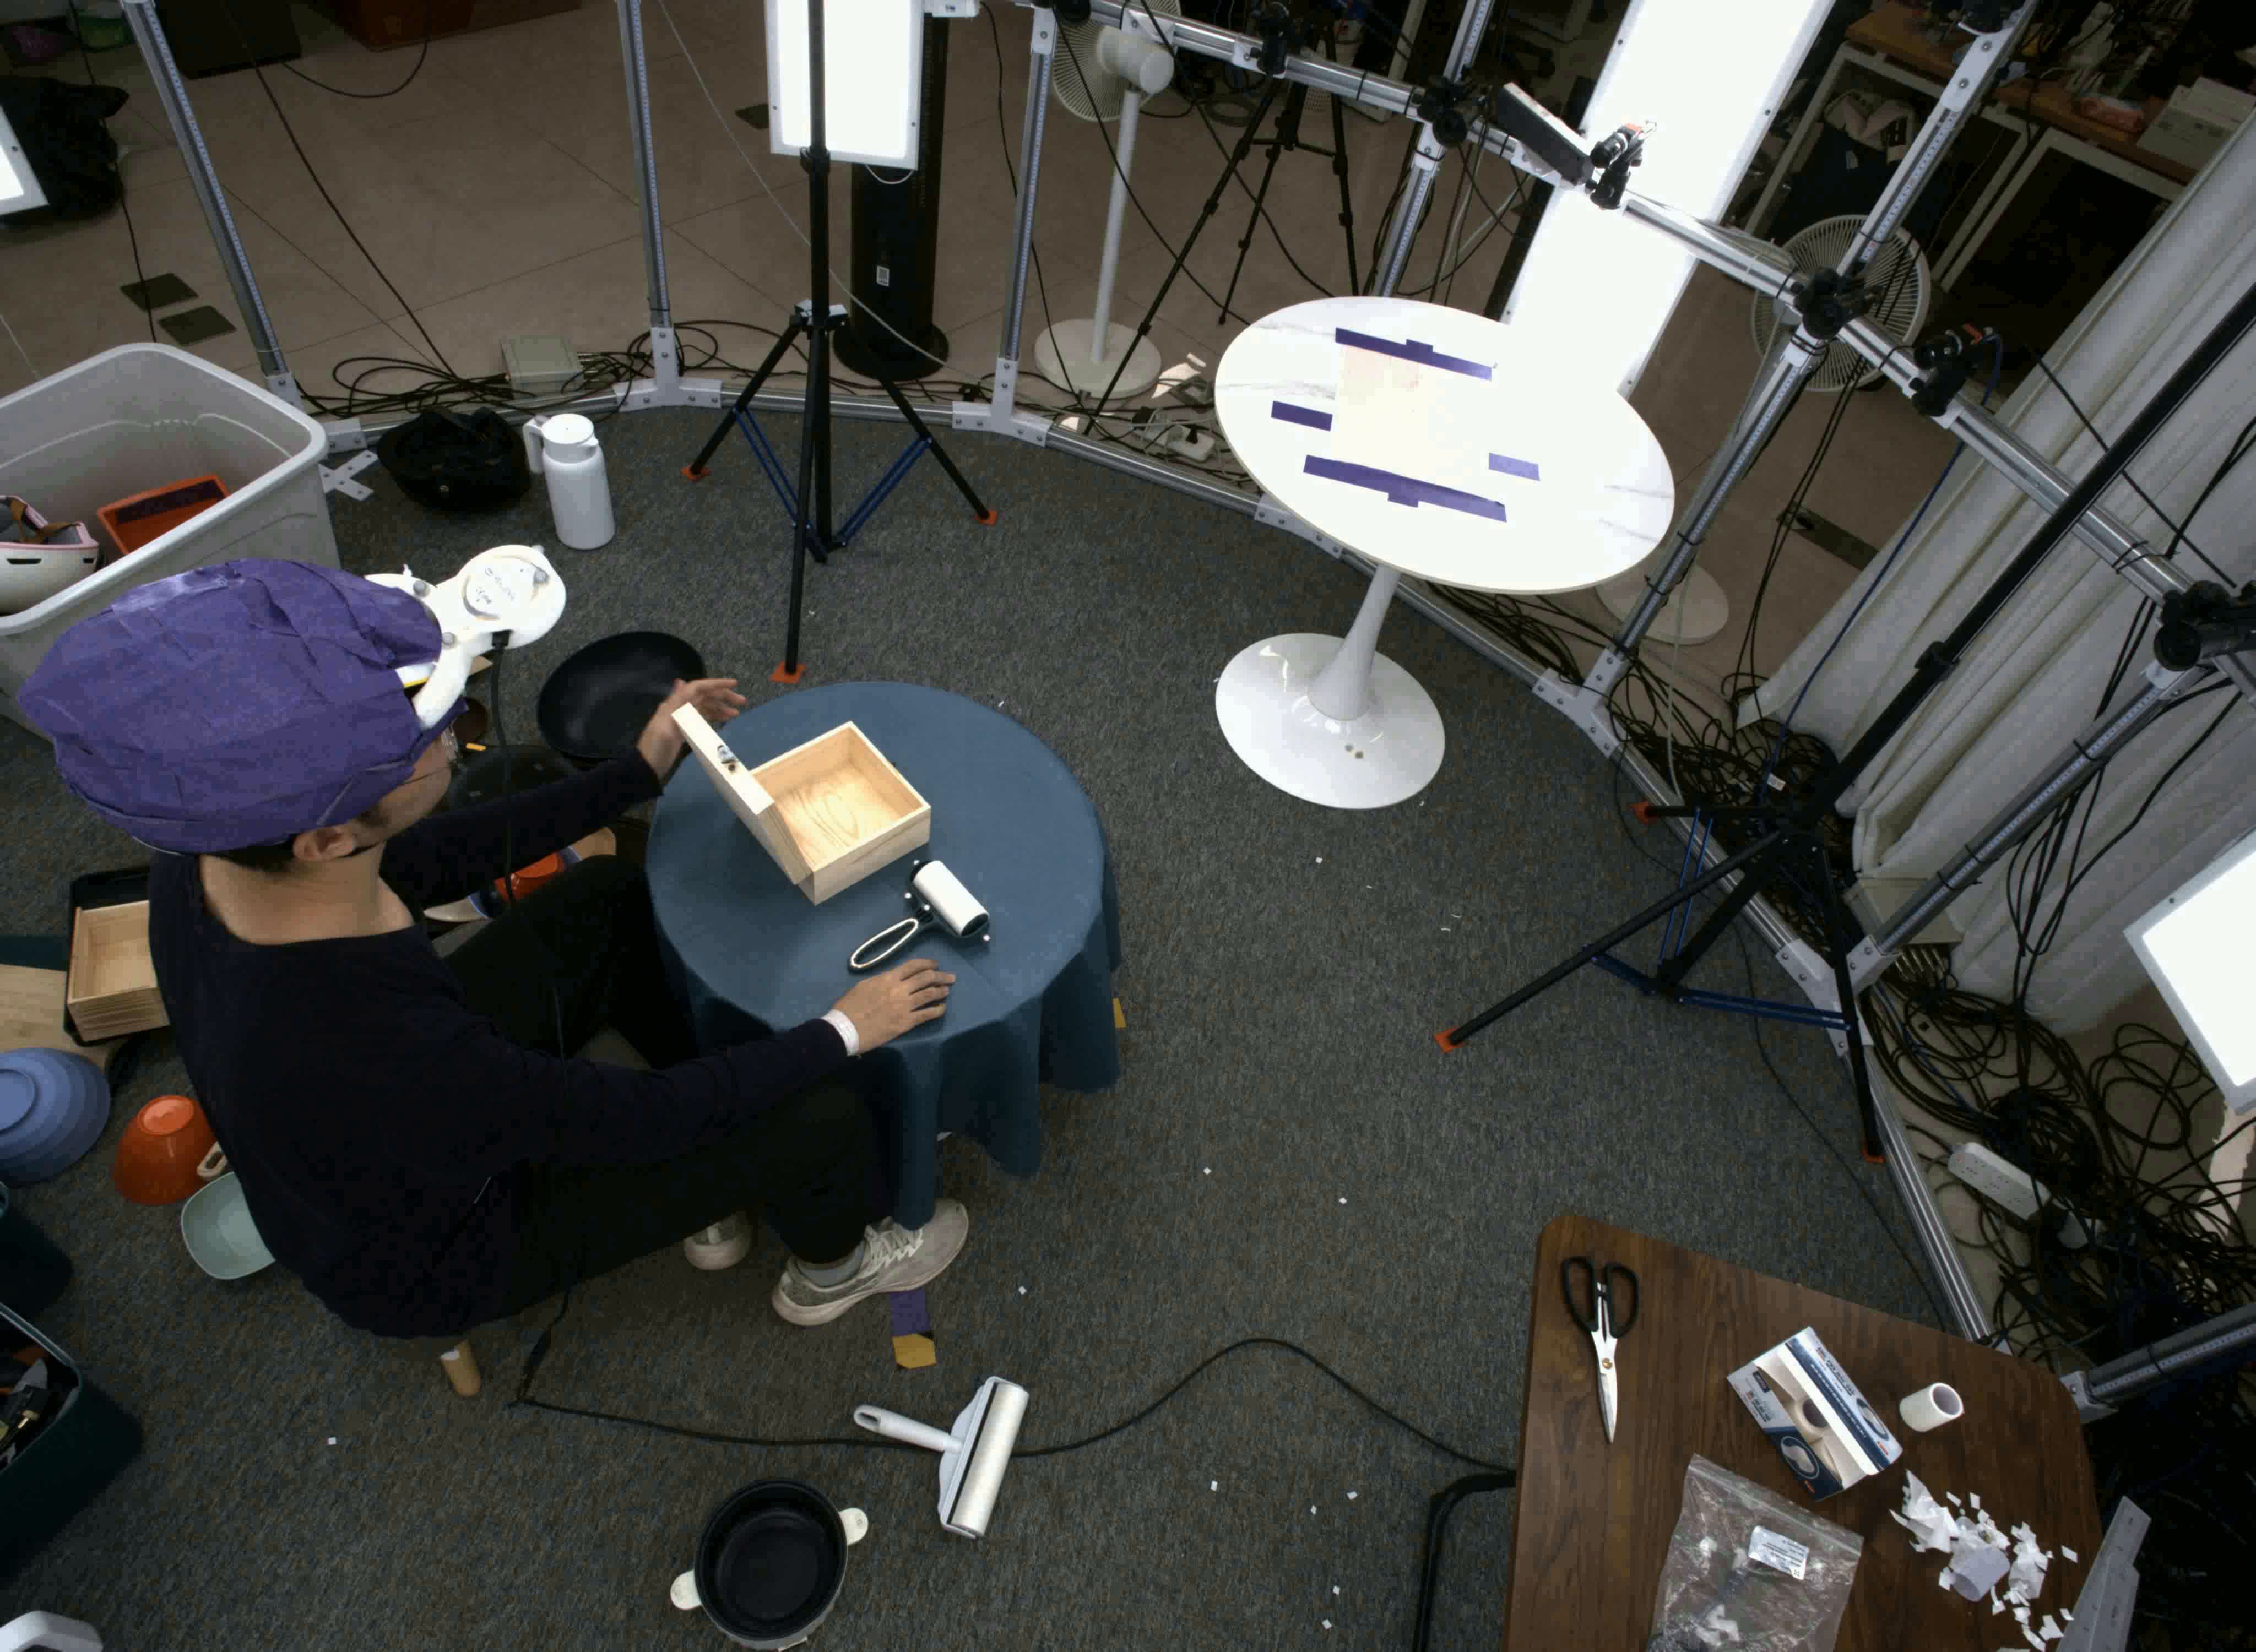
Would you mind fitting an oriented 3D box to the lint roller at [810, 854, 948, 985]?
[{"bbox_3d":[-0.330,0.130,1.638,0.131,0.049,0.180,42,60,18],"label":"lint roller"}]

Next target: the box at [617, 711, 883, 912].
[{"bbox_3d":[-0.458,-0.053,1.604,0.178,0.258,0.266,41,55,18],"label":"box"}]
